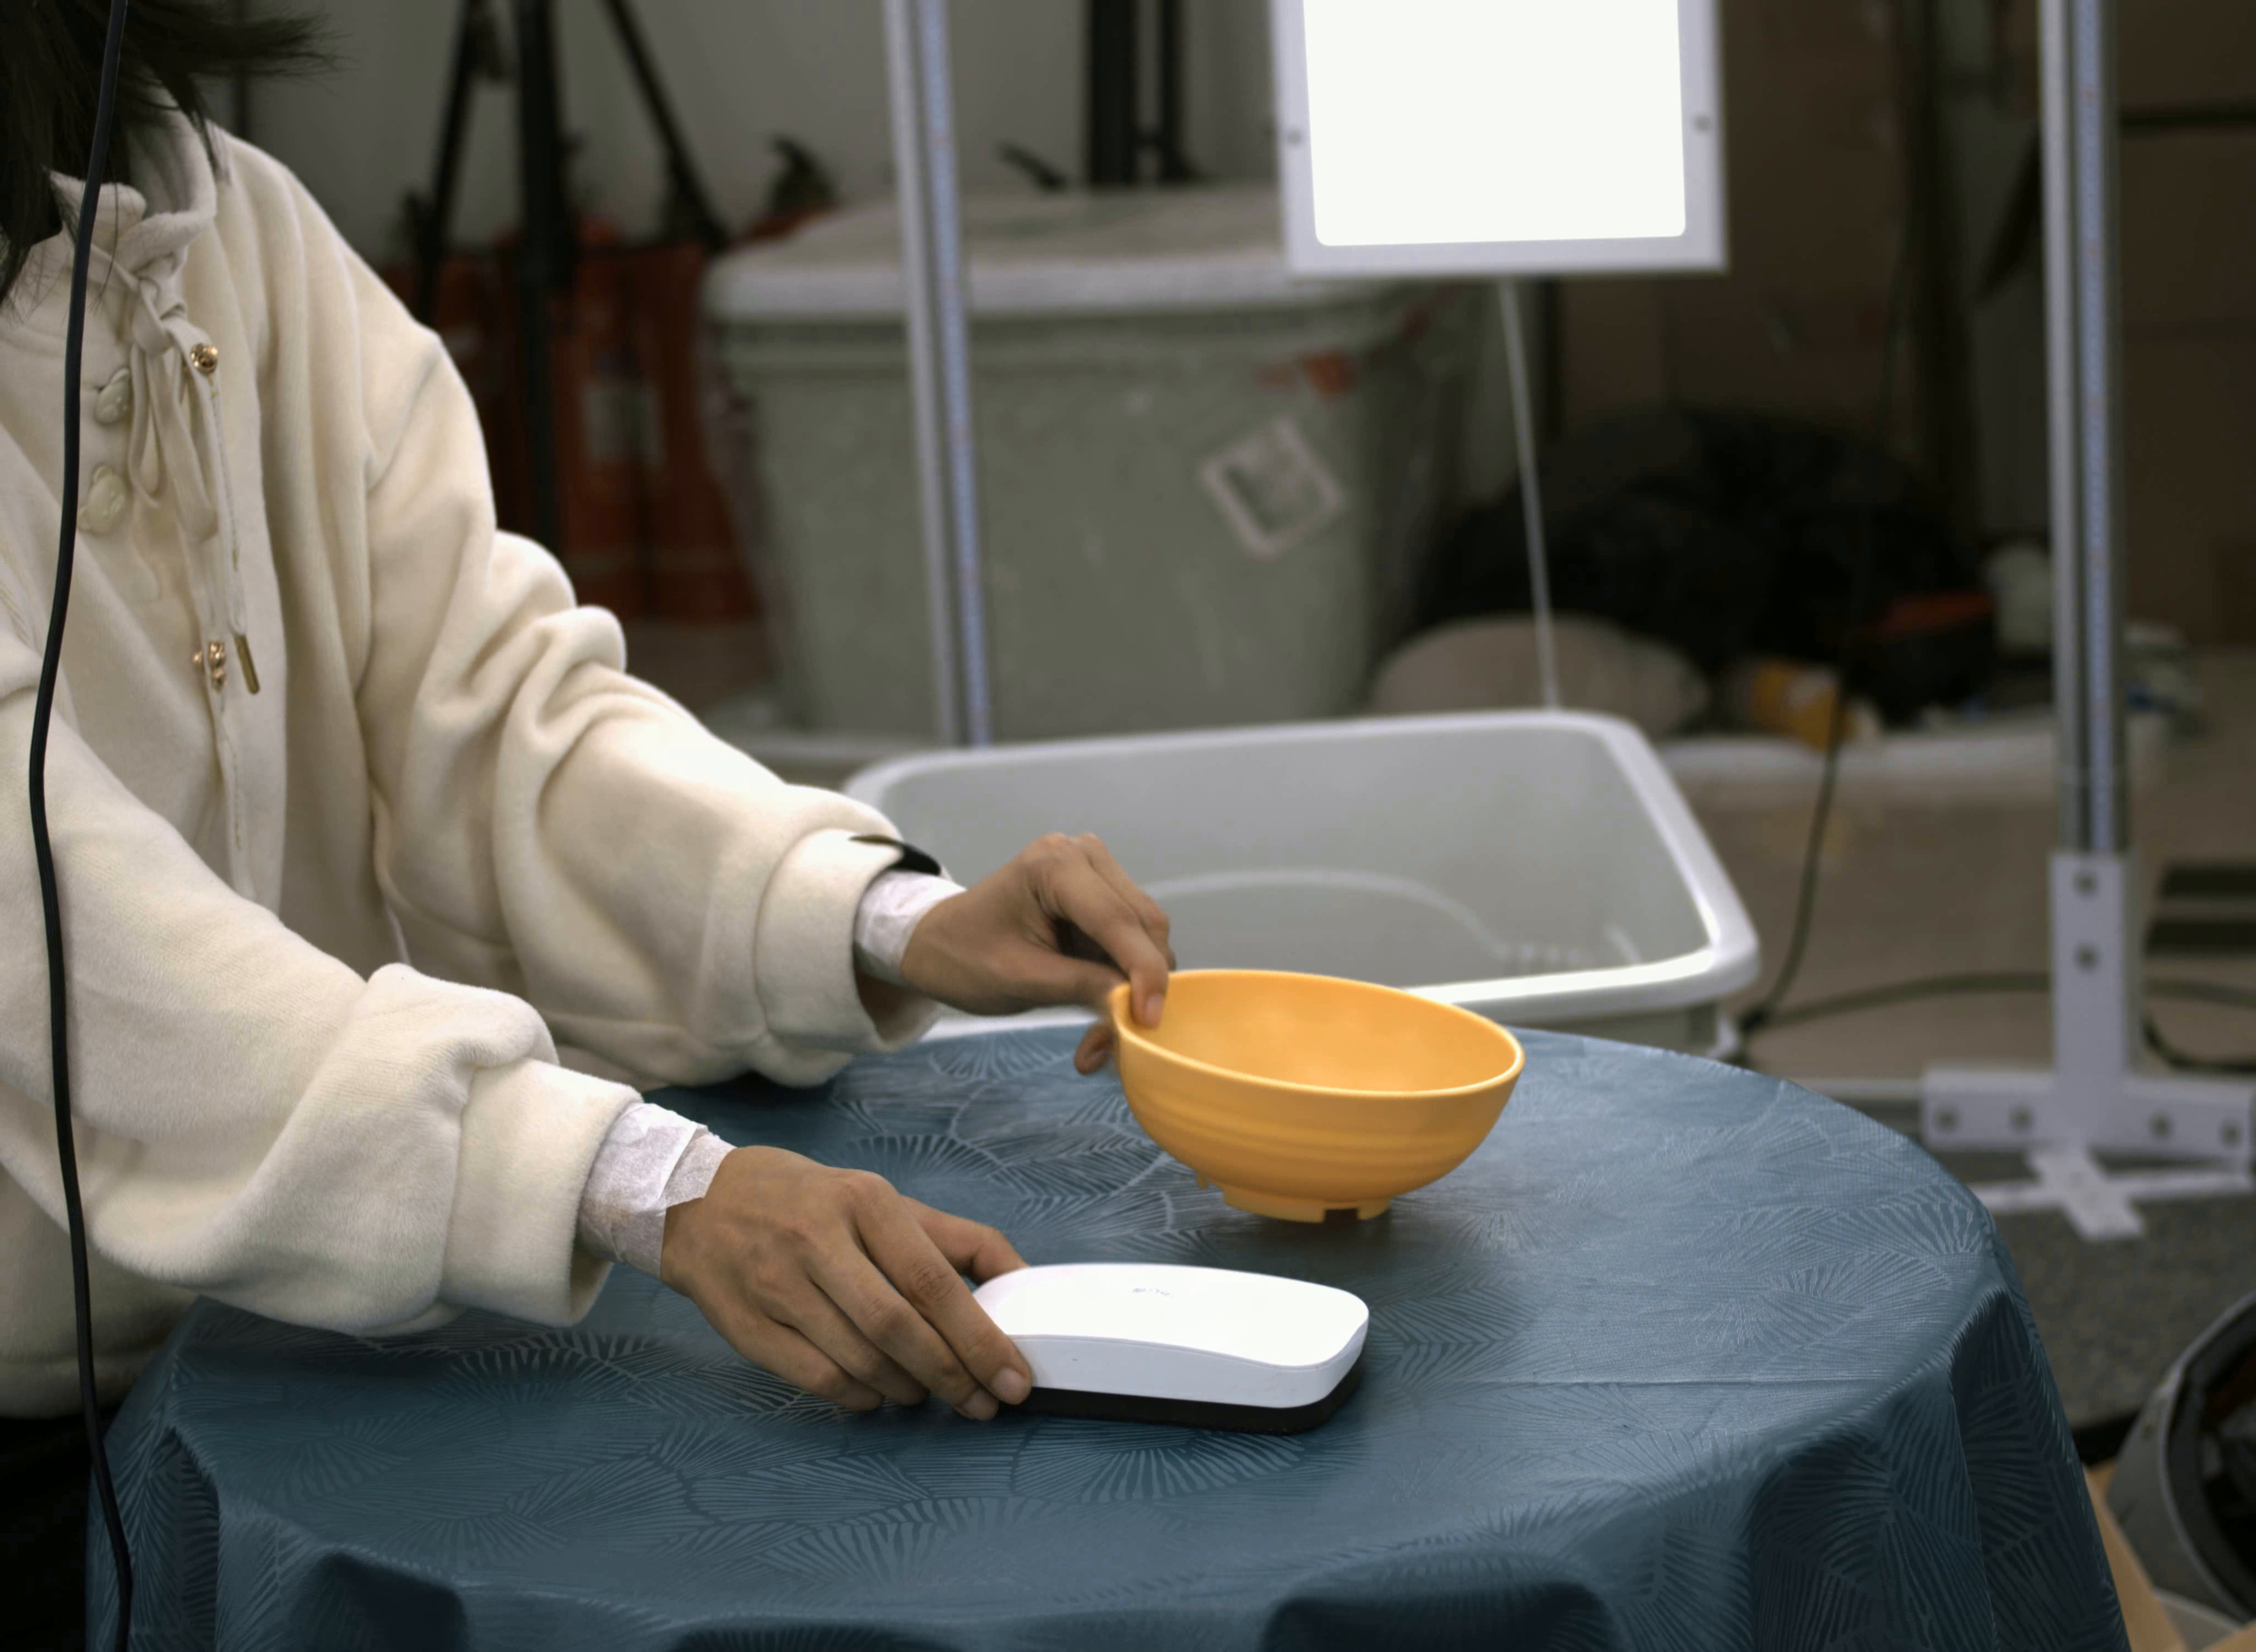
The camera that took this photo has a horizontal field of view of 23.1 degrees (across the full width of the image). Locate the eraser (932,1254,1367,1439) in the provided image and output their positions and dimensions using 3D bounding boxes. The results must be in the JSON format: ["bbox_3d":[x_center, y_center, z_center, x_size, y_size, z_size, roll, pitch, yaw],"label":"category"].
[{"bbox_3d":[0.008,0.159,1.693,0.133,0.034,0.062,3,17,26],"label":"eraser"}]

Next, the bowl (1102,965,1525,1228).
[{"bbox_3d":[0.059,0.097,1.856,0.144,0.060,0.145,5,15,-3],"label":"bowl"}]
